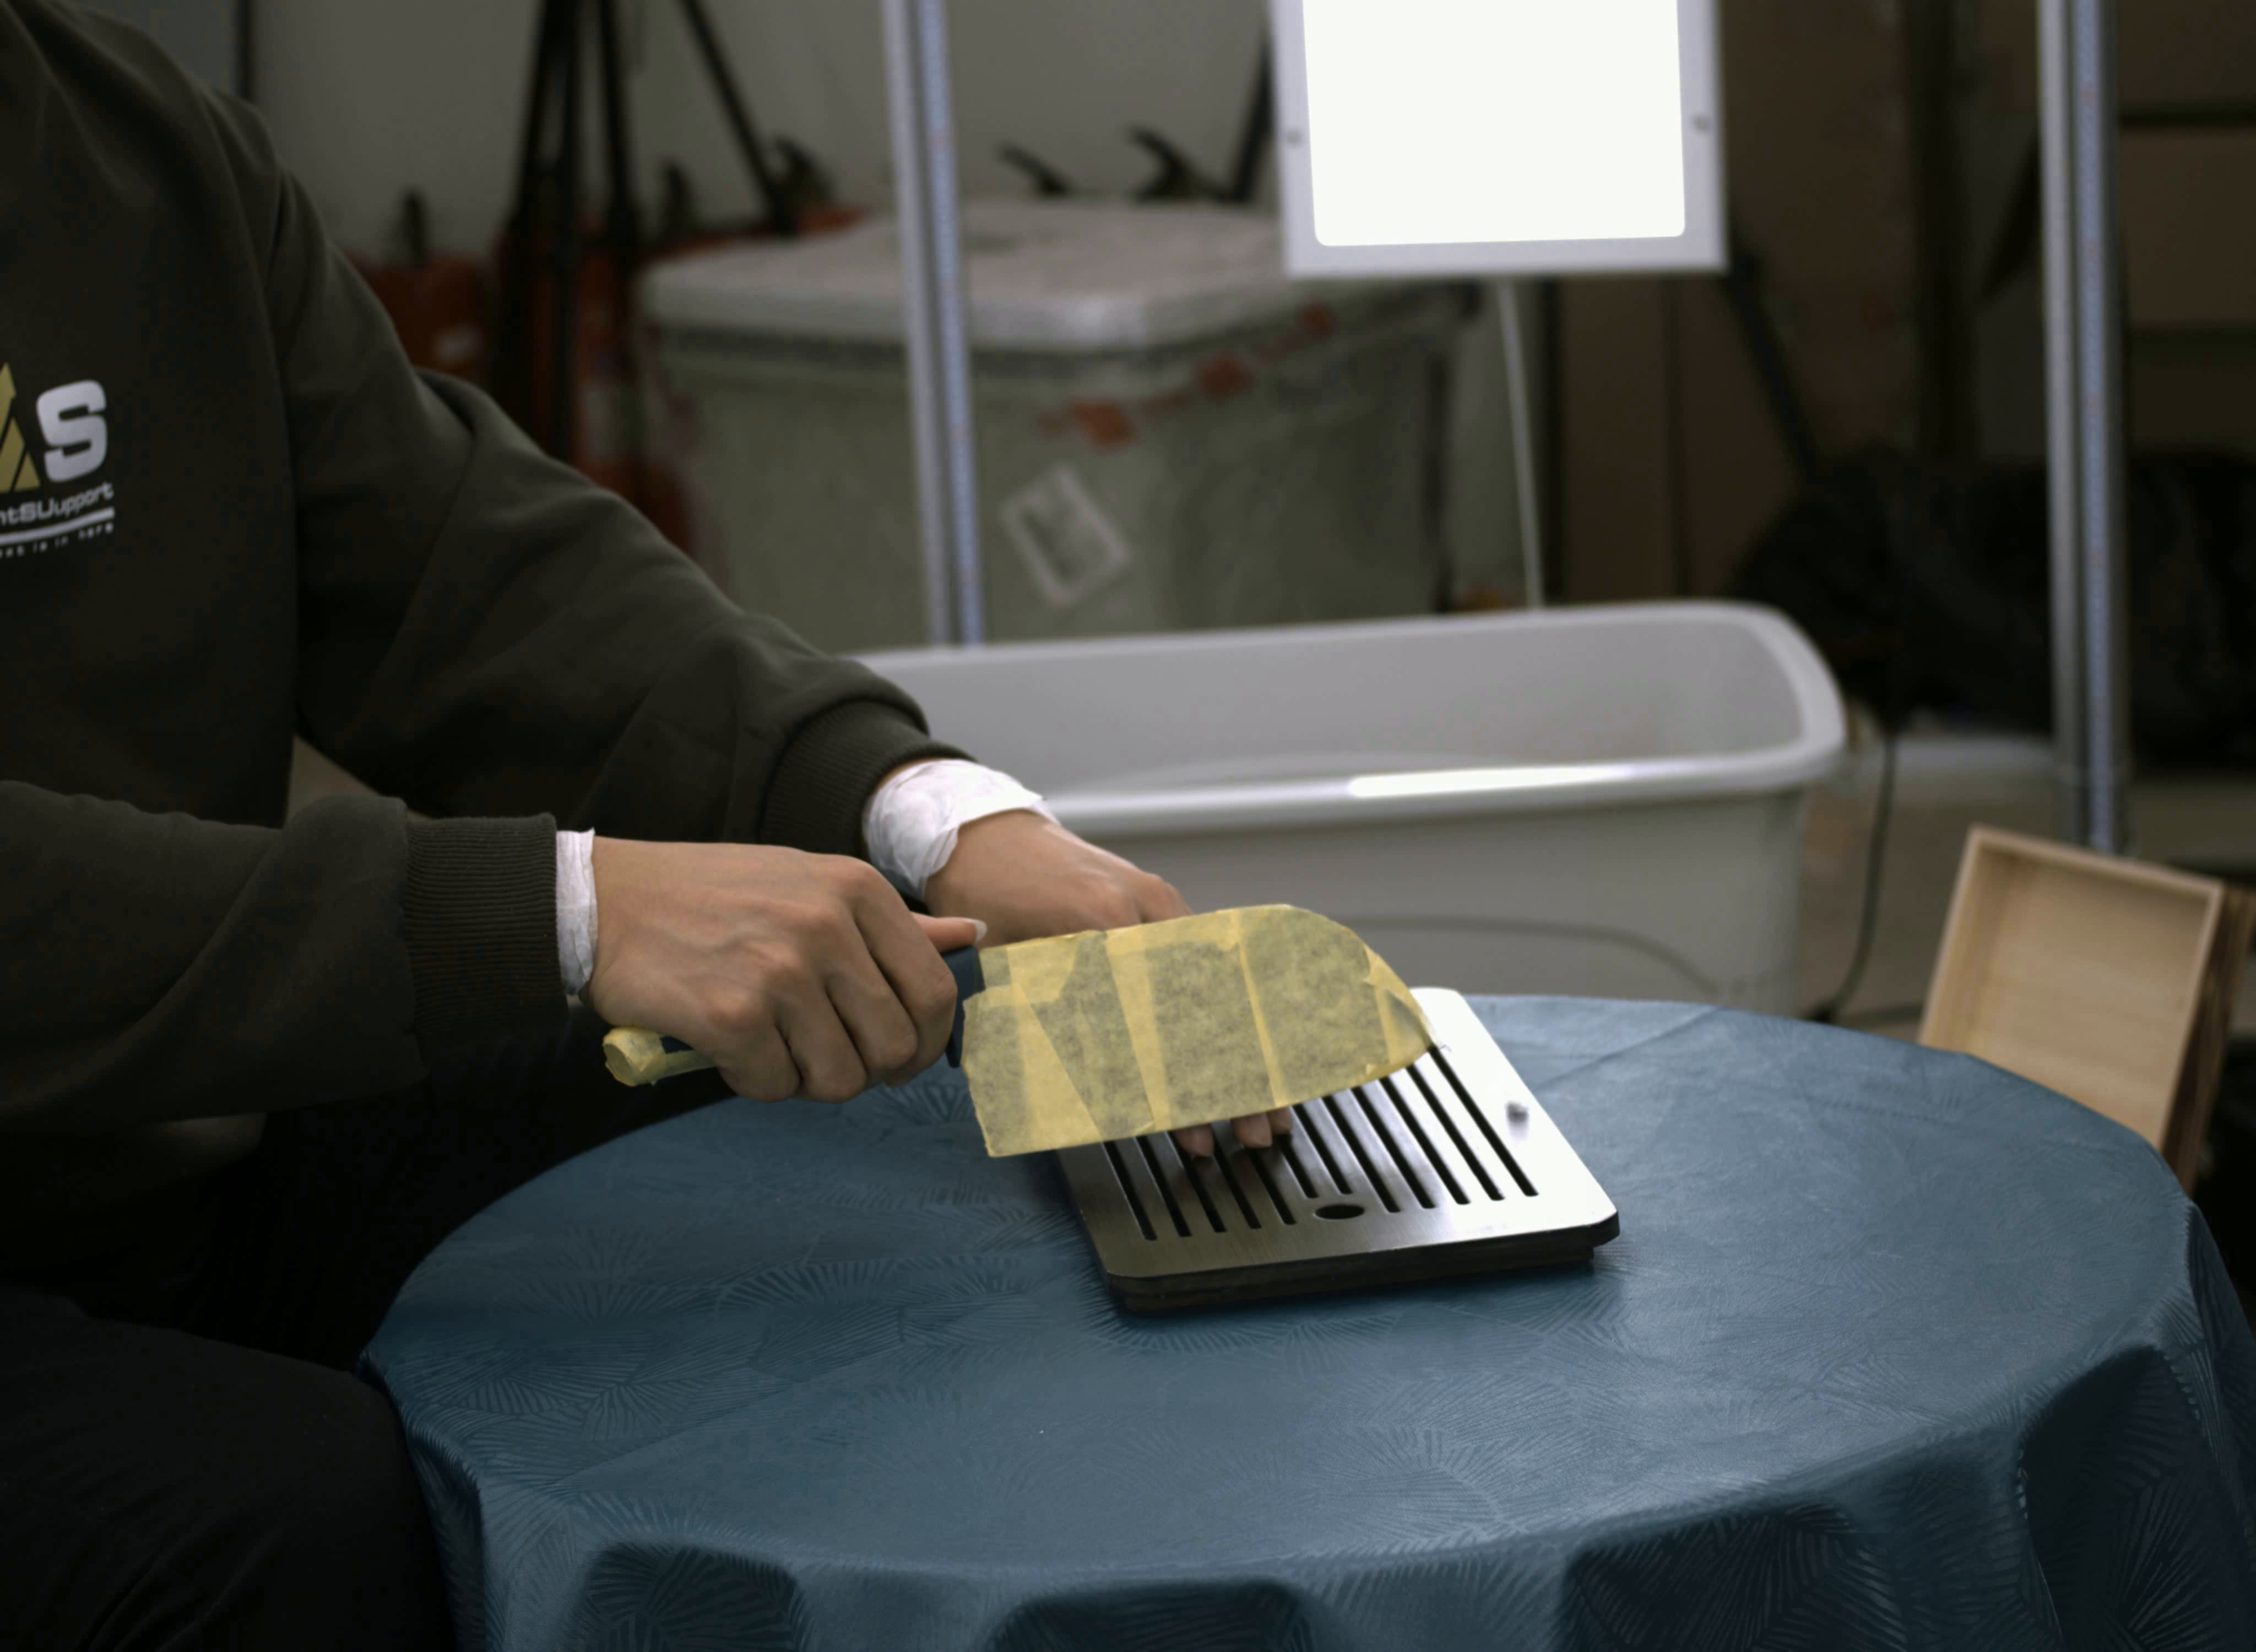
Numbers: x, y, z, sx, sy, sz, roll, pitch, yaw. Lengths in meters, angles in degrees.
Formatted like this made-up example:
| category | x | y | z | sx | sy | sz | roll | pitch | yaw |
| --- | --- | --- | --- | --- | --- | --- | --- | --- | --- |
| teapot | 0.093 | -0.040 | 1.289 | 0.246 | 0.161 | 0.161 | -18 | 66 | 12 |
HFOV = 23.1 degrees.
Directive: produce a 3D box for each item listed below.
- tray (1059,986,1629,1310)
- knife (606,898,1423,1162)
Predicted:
| category | x | y | z | sx | sy | sz | roll | pitch | yaw |
| --- | --- | --- | --- | --- | --- | --- | --- | --- | --- |
| tray | 0.063 | 0.109 | 1.913 | 0.169 | 0.019 | 0.307 | -7 | 13 | -5 |
| knife | -0.034 | 0.073 | 1.863 | 0.285 | 0.081 | 0.027 | -7 | -19 | -15 |
